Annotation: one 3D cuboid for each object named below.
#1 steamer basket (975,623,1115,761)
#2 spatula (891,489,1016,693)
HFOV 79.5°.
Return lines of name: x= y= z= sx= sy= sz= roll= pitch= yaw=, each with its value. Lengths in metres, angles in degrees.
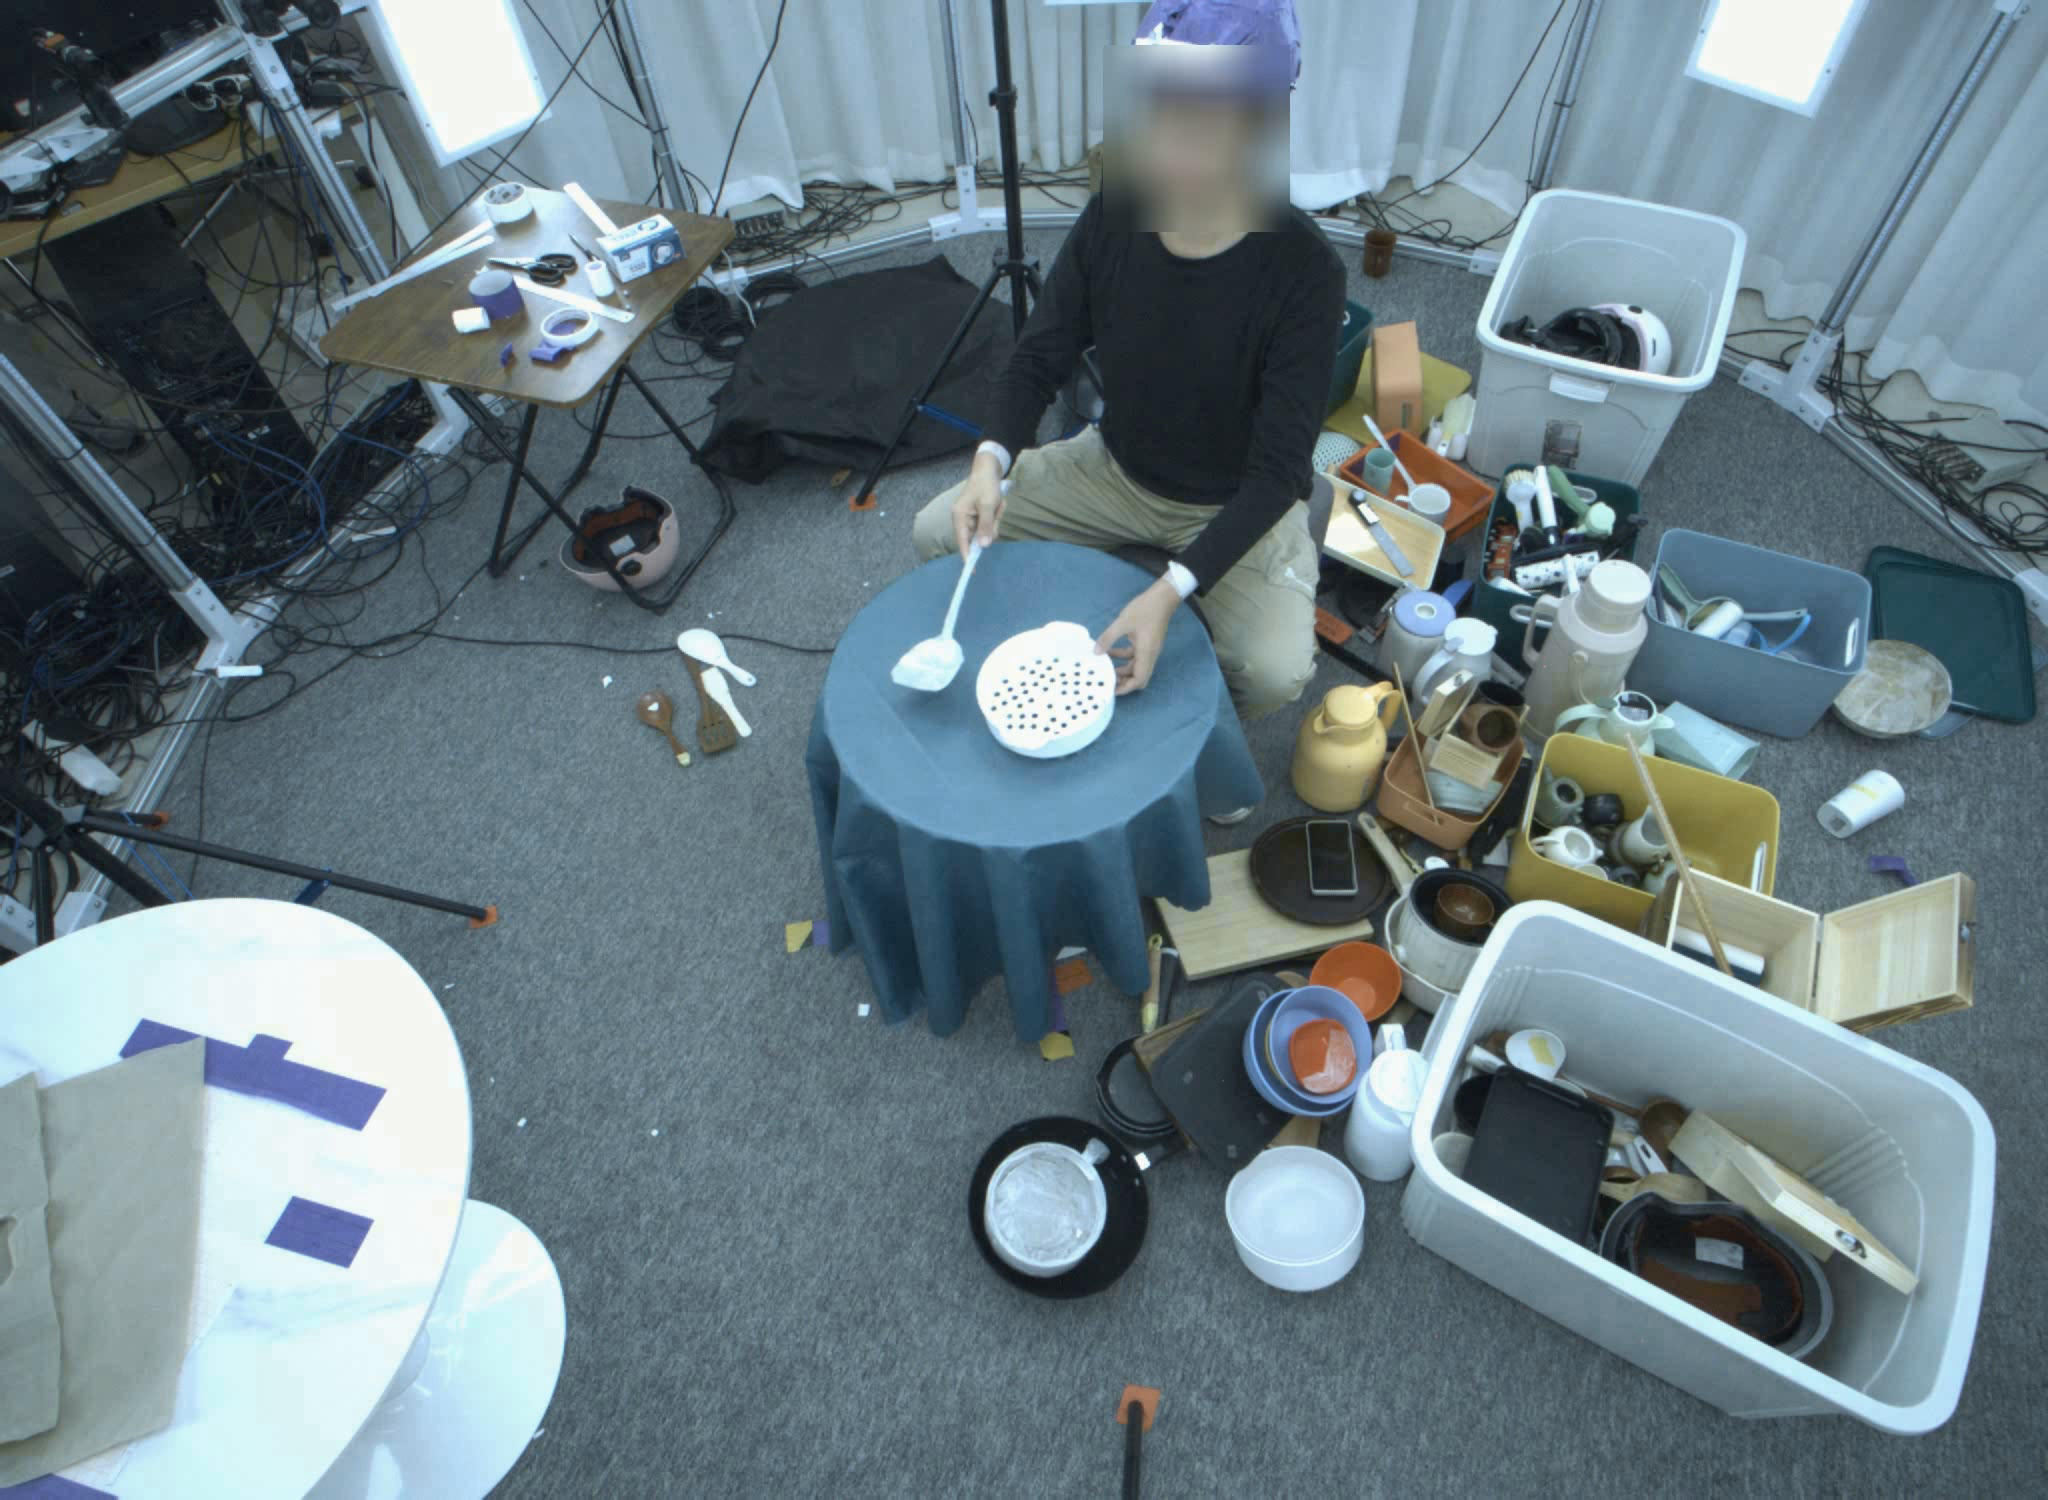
steamer basket: x=0.032 y=-0.079 z=1.794 sx=0.200 sy=0.070 sz=0.230 roll=14 pitch=60 yaw=14
spatula: x=-0.093 y=-0.247 z=1.837 sx=0.097 sy=0.045 sz=0.364 roll=15 pitch=78 yaw=25
